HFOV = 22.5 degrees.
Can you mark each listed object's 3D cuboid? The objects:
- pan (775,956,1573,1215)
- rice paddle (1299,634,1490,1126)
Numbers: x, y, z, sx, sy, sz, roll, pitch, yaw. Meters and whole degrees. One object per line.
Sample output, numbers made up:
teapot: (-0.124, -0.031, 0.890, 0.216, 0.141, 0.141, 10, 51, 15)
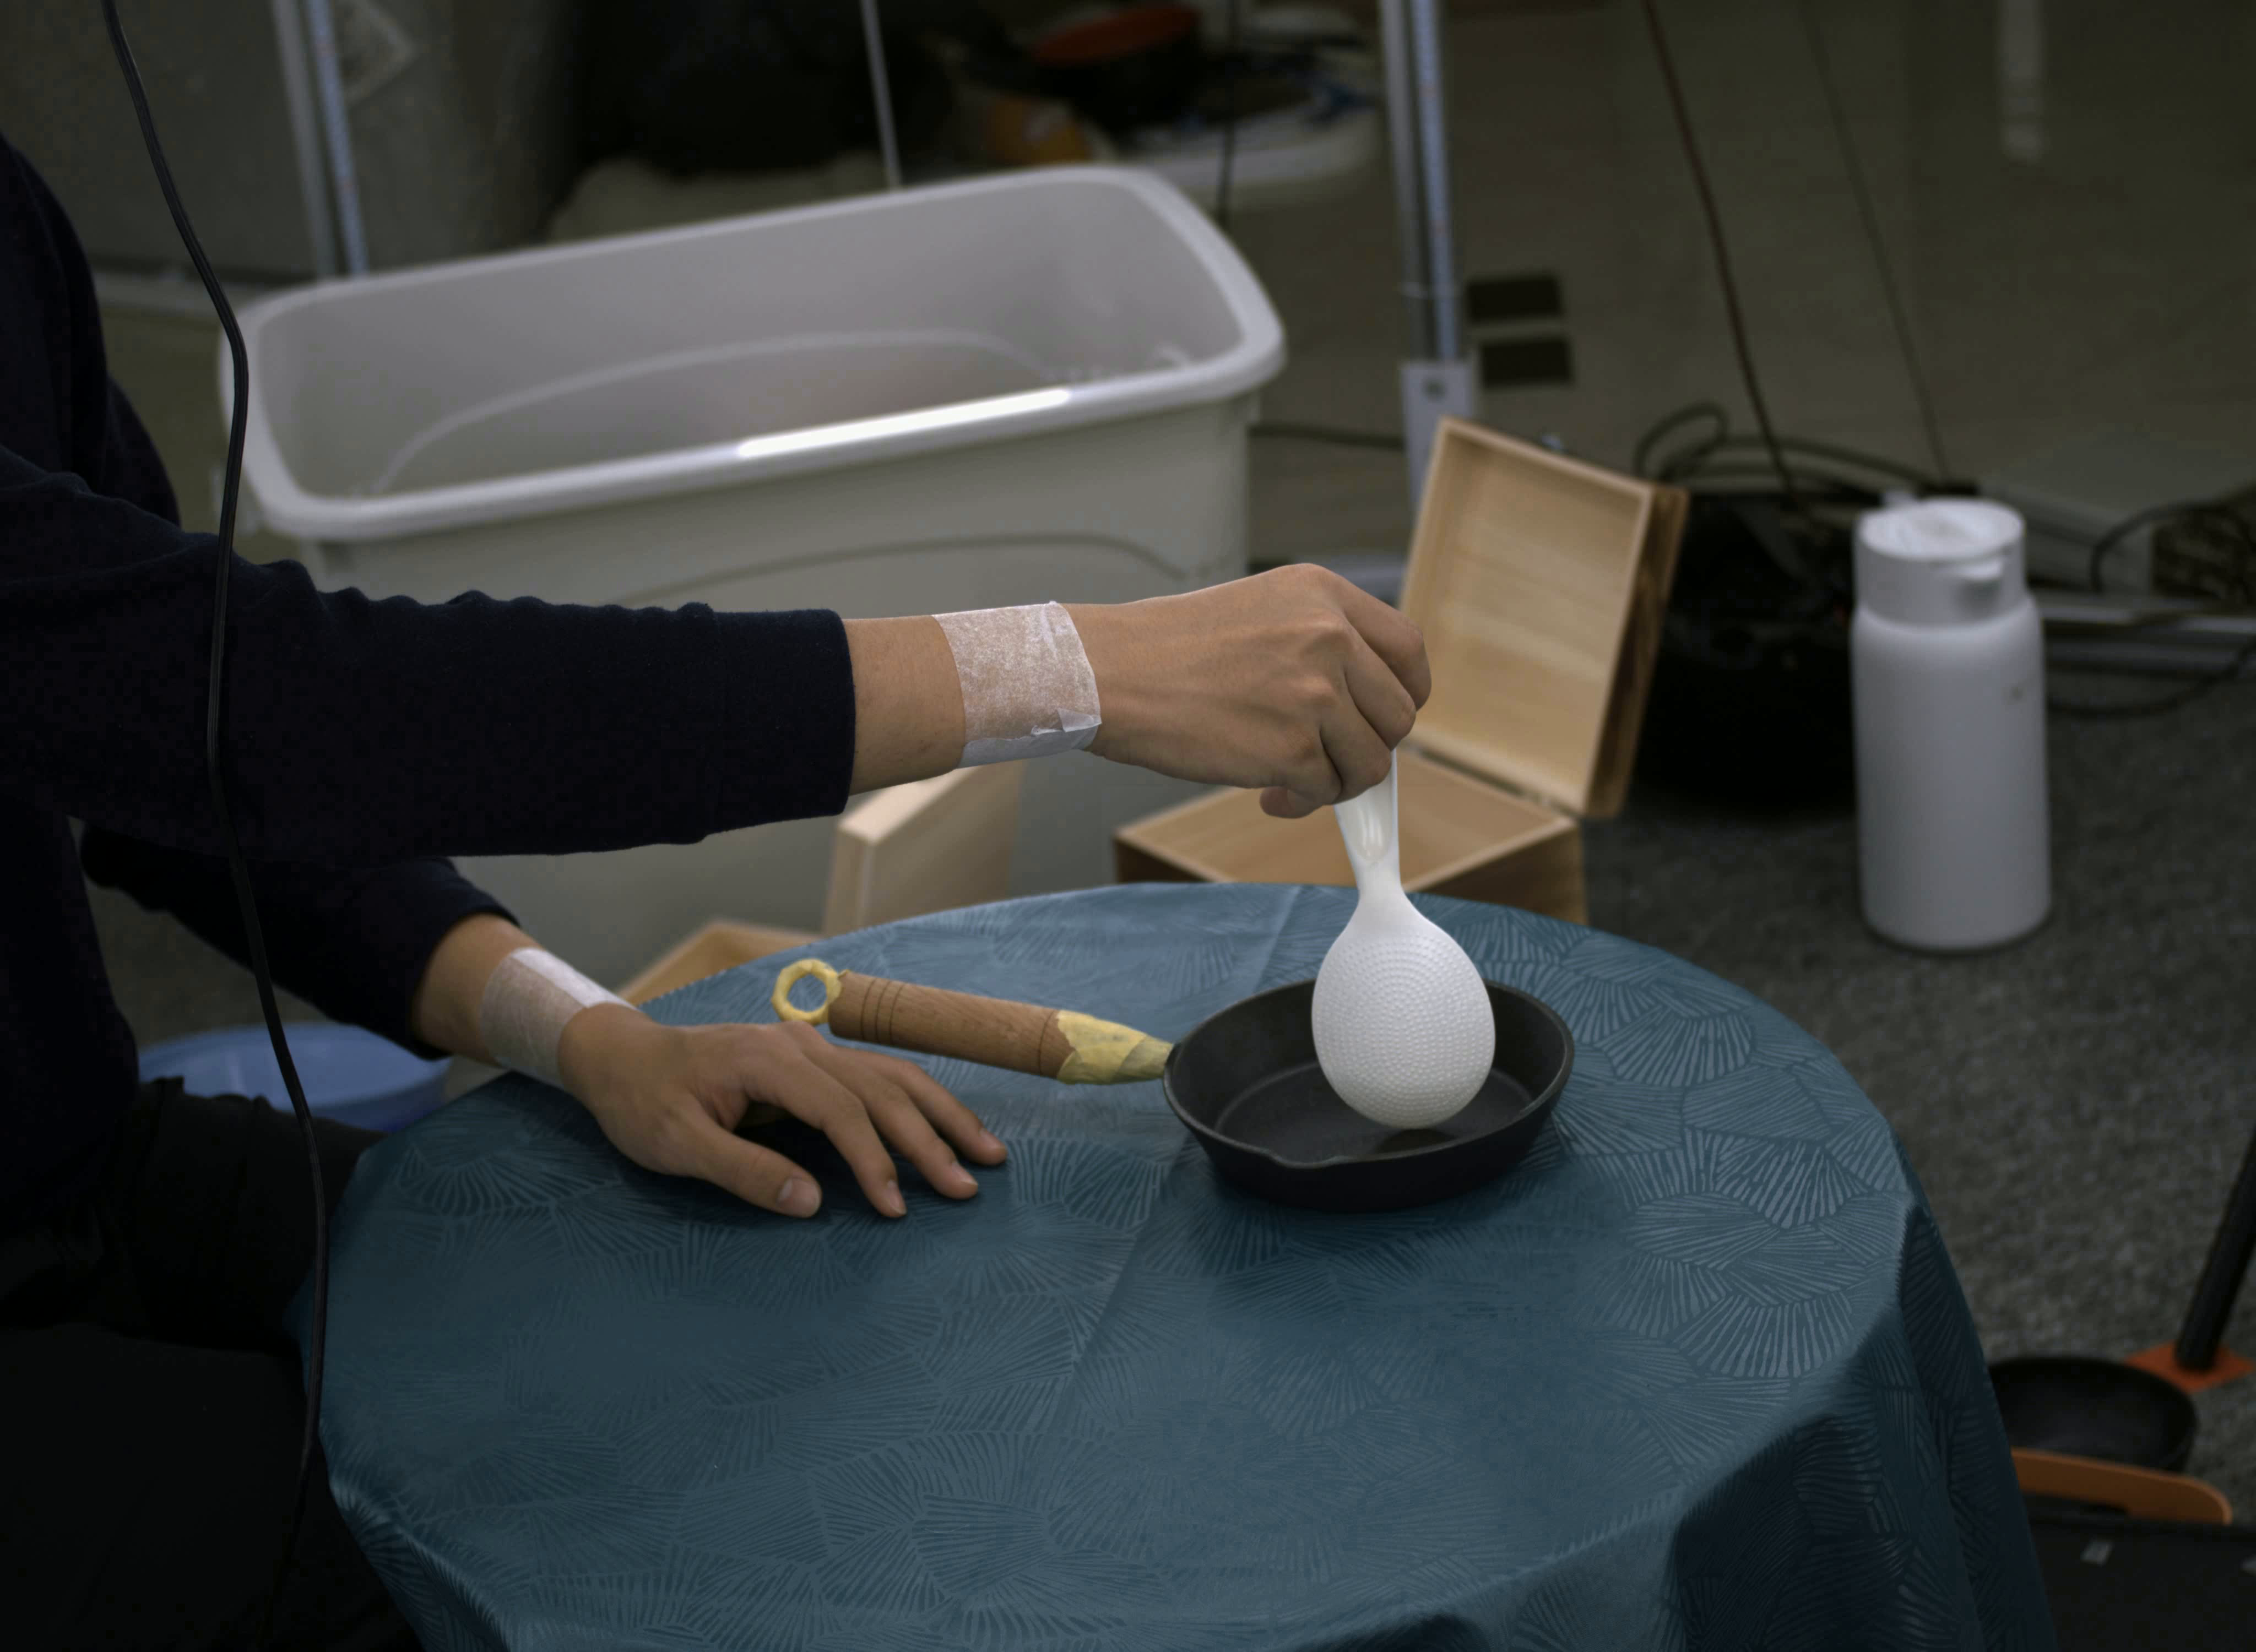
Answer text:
pan: (0.014, 0.090, 2.188, 0.323, 0.050, 0.166, 6, 28, 22)
rice paddle: (0.093, 0.025, 2.113, 0.068, 0.209, 0.029, -6, 31, 8)
